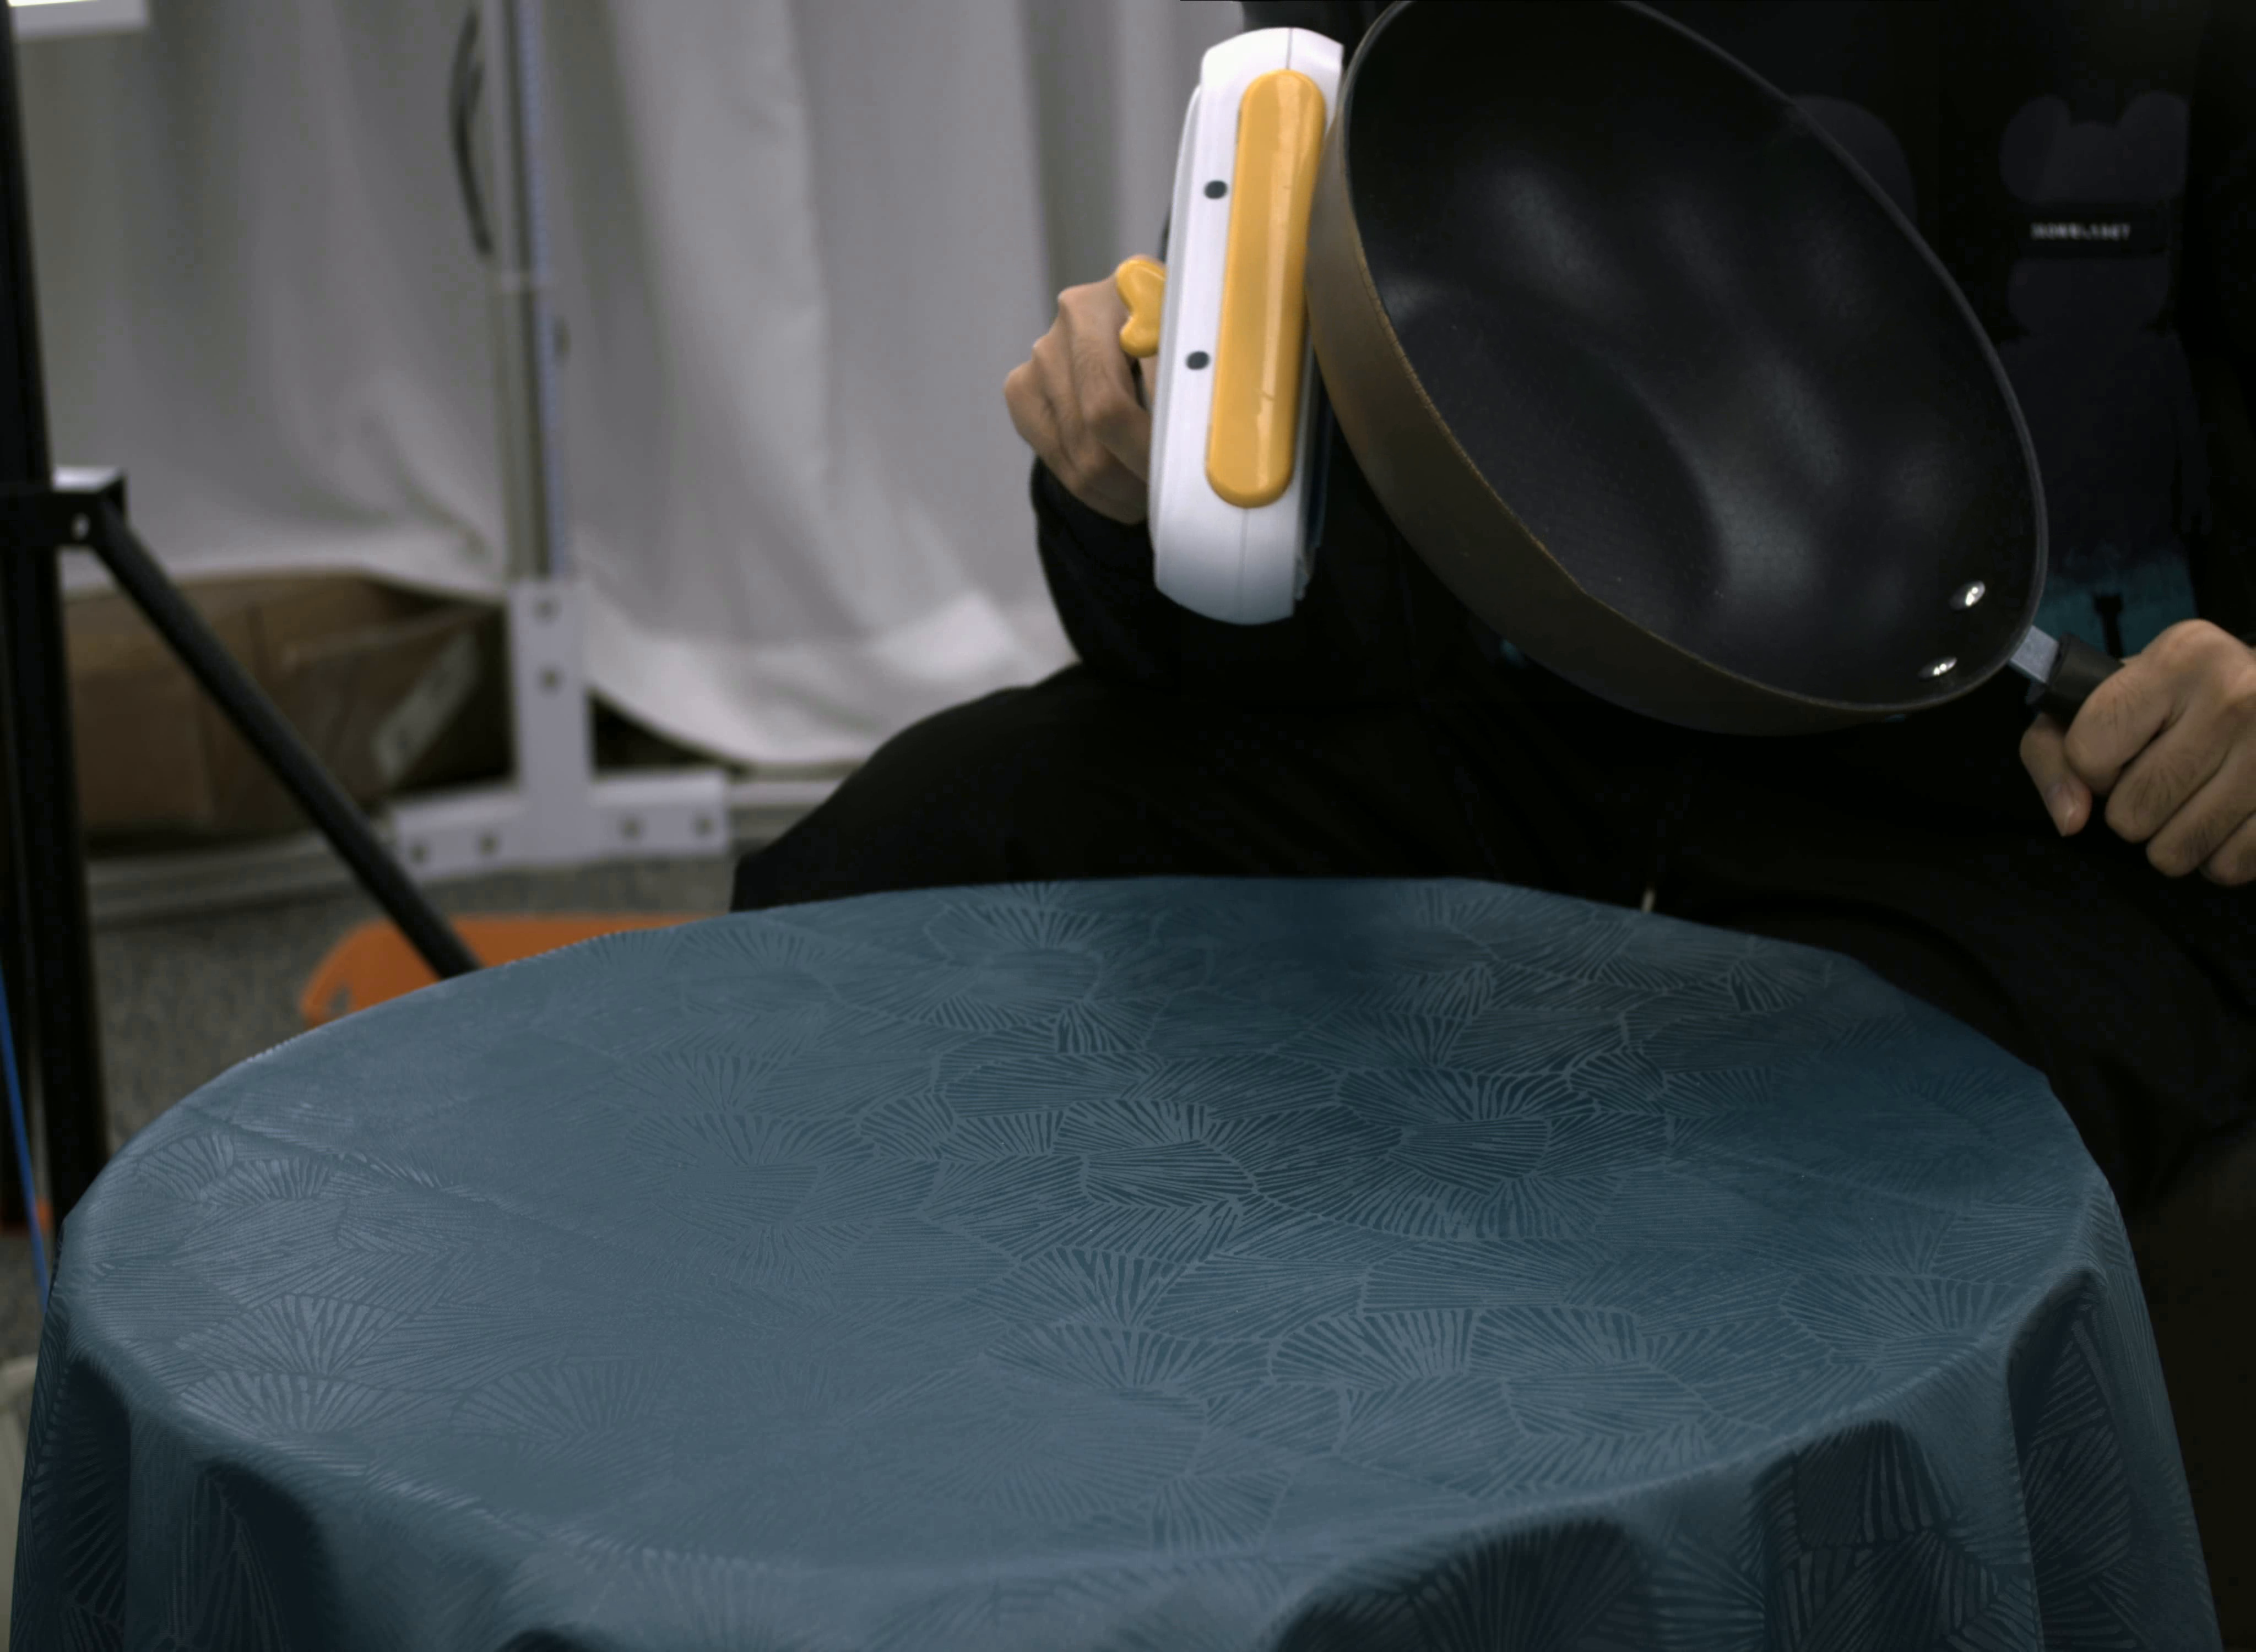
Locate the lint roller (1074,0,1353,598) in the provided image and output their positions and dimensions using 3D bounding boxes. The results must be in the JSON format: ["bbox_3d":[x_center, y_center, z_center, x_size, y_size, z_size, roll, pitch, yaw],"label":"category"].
[{"bbox_3d":[0.024,-0.147,1.735,0.073,0.195,0.192,3,-20,-8],"label":"lint roller"}]

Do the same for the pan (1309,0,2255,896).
[{"bbox_3d":[0.225,-0.076,1.668,0.088,0.460,0.287,-44,10,40],"label":"pan"}]
